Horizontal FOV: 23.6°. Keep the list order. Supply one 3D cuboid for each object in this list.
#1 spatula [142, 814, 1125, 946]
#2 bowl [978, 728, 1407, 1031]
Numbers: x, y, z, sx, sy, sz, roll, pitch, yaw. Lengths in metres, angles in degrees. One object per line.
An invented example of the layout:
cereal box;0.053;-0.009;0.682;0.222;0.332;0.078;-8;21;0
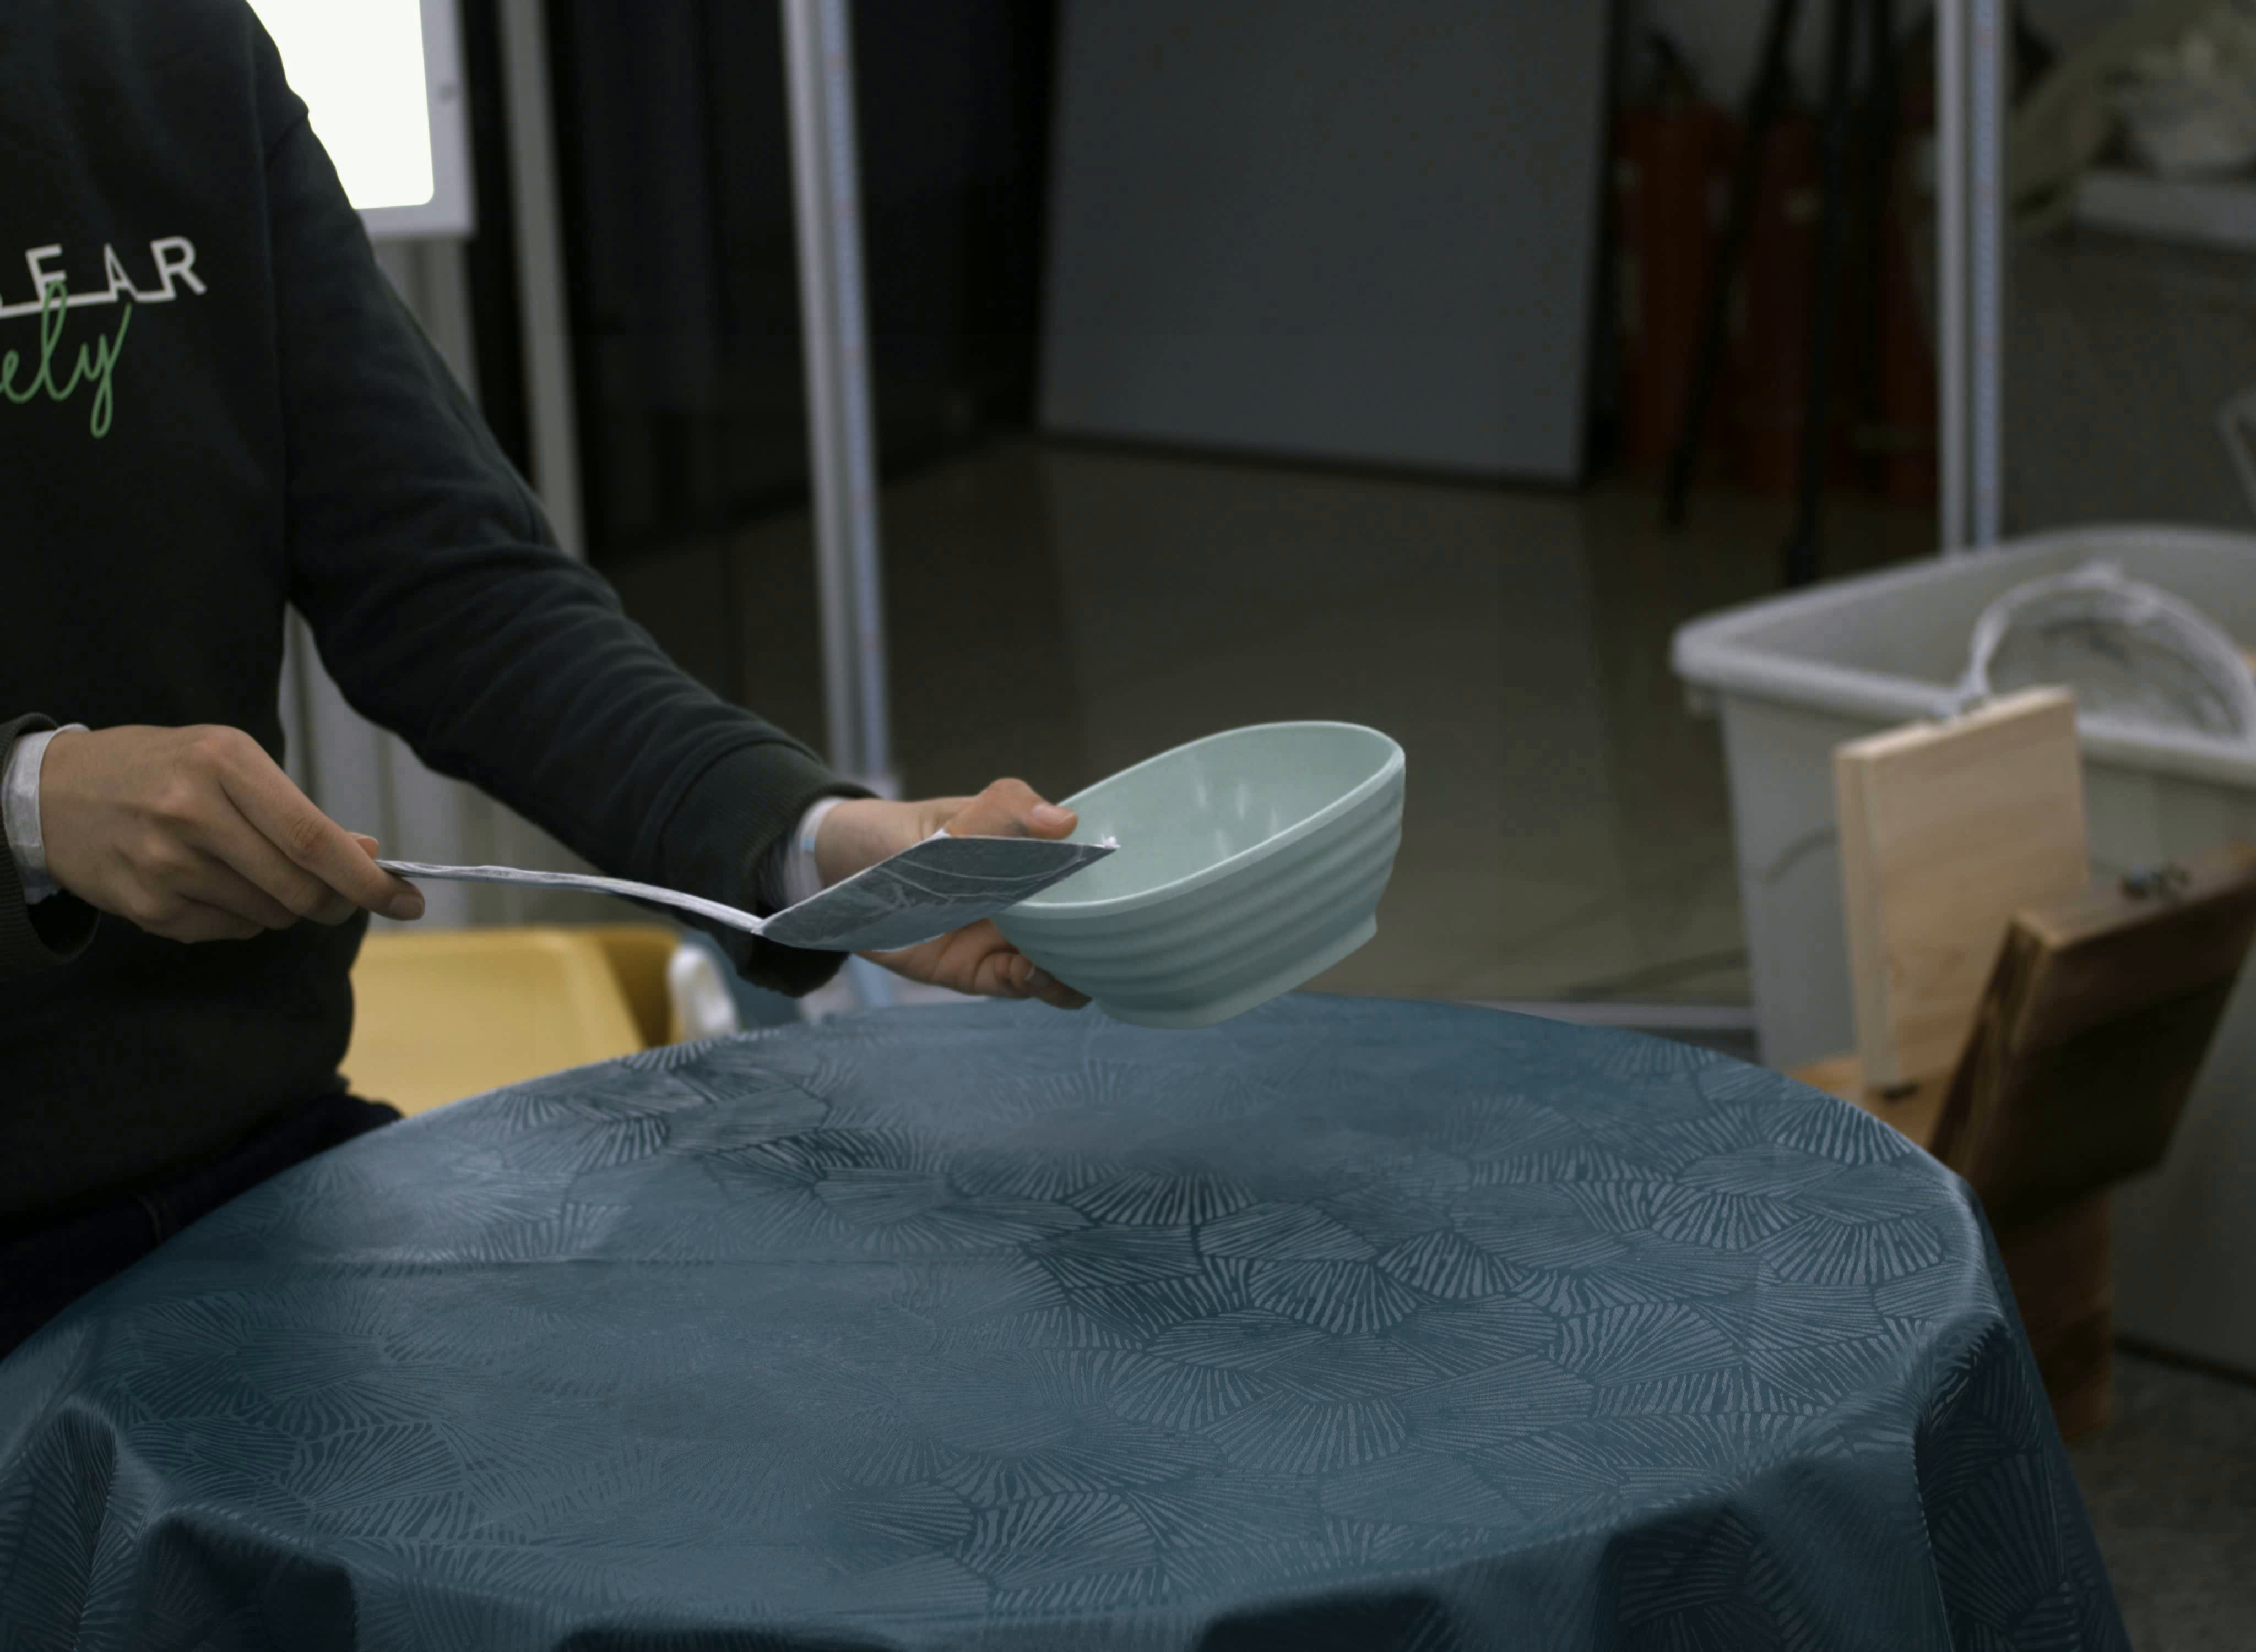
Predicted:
spatula;-0.169;0.012;1.644;0.367;0.045;0.097;3;0;33
bowl;0.025;0.022;1.735;0.150;0.059;0.152;-17;15;4
